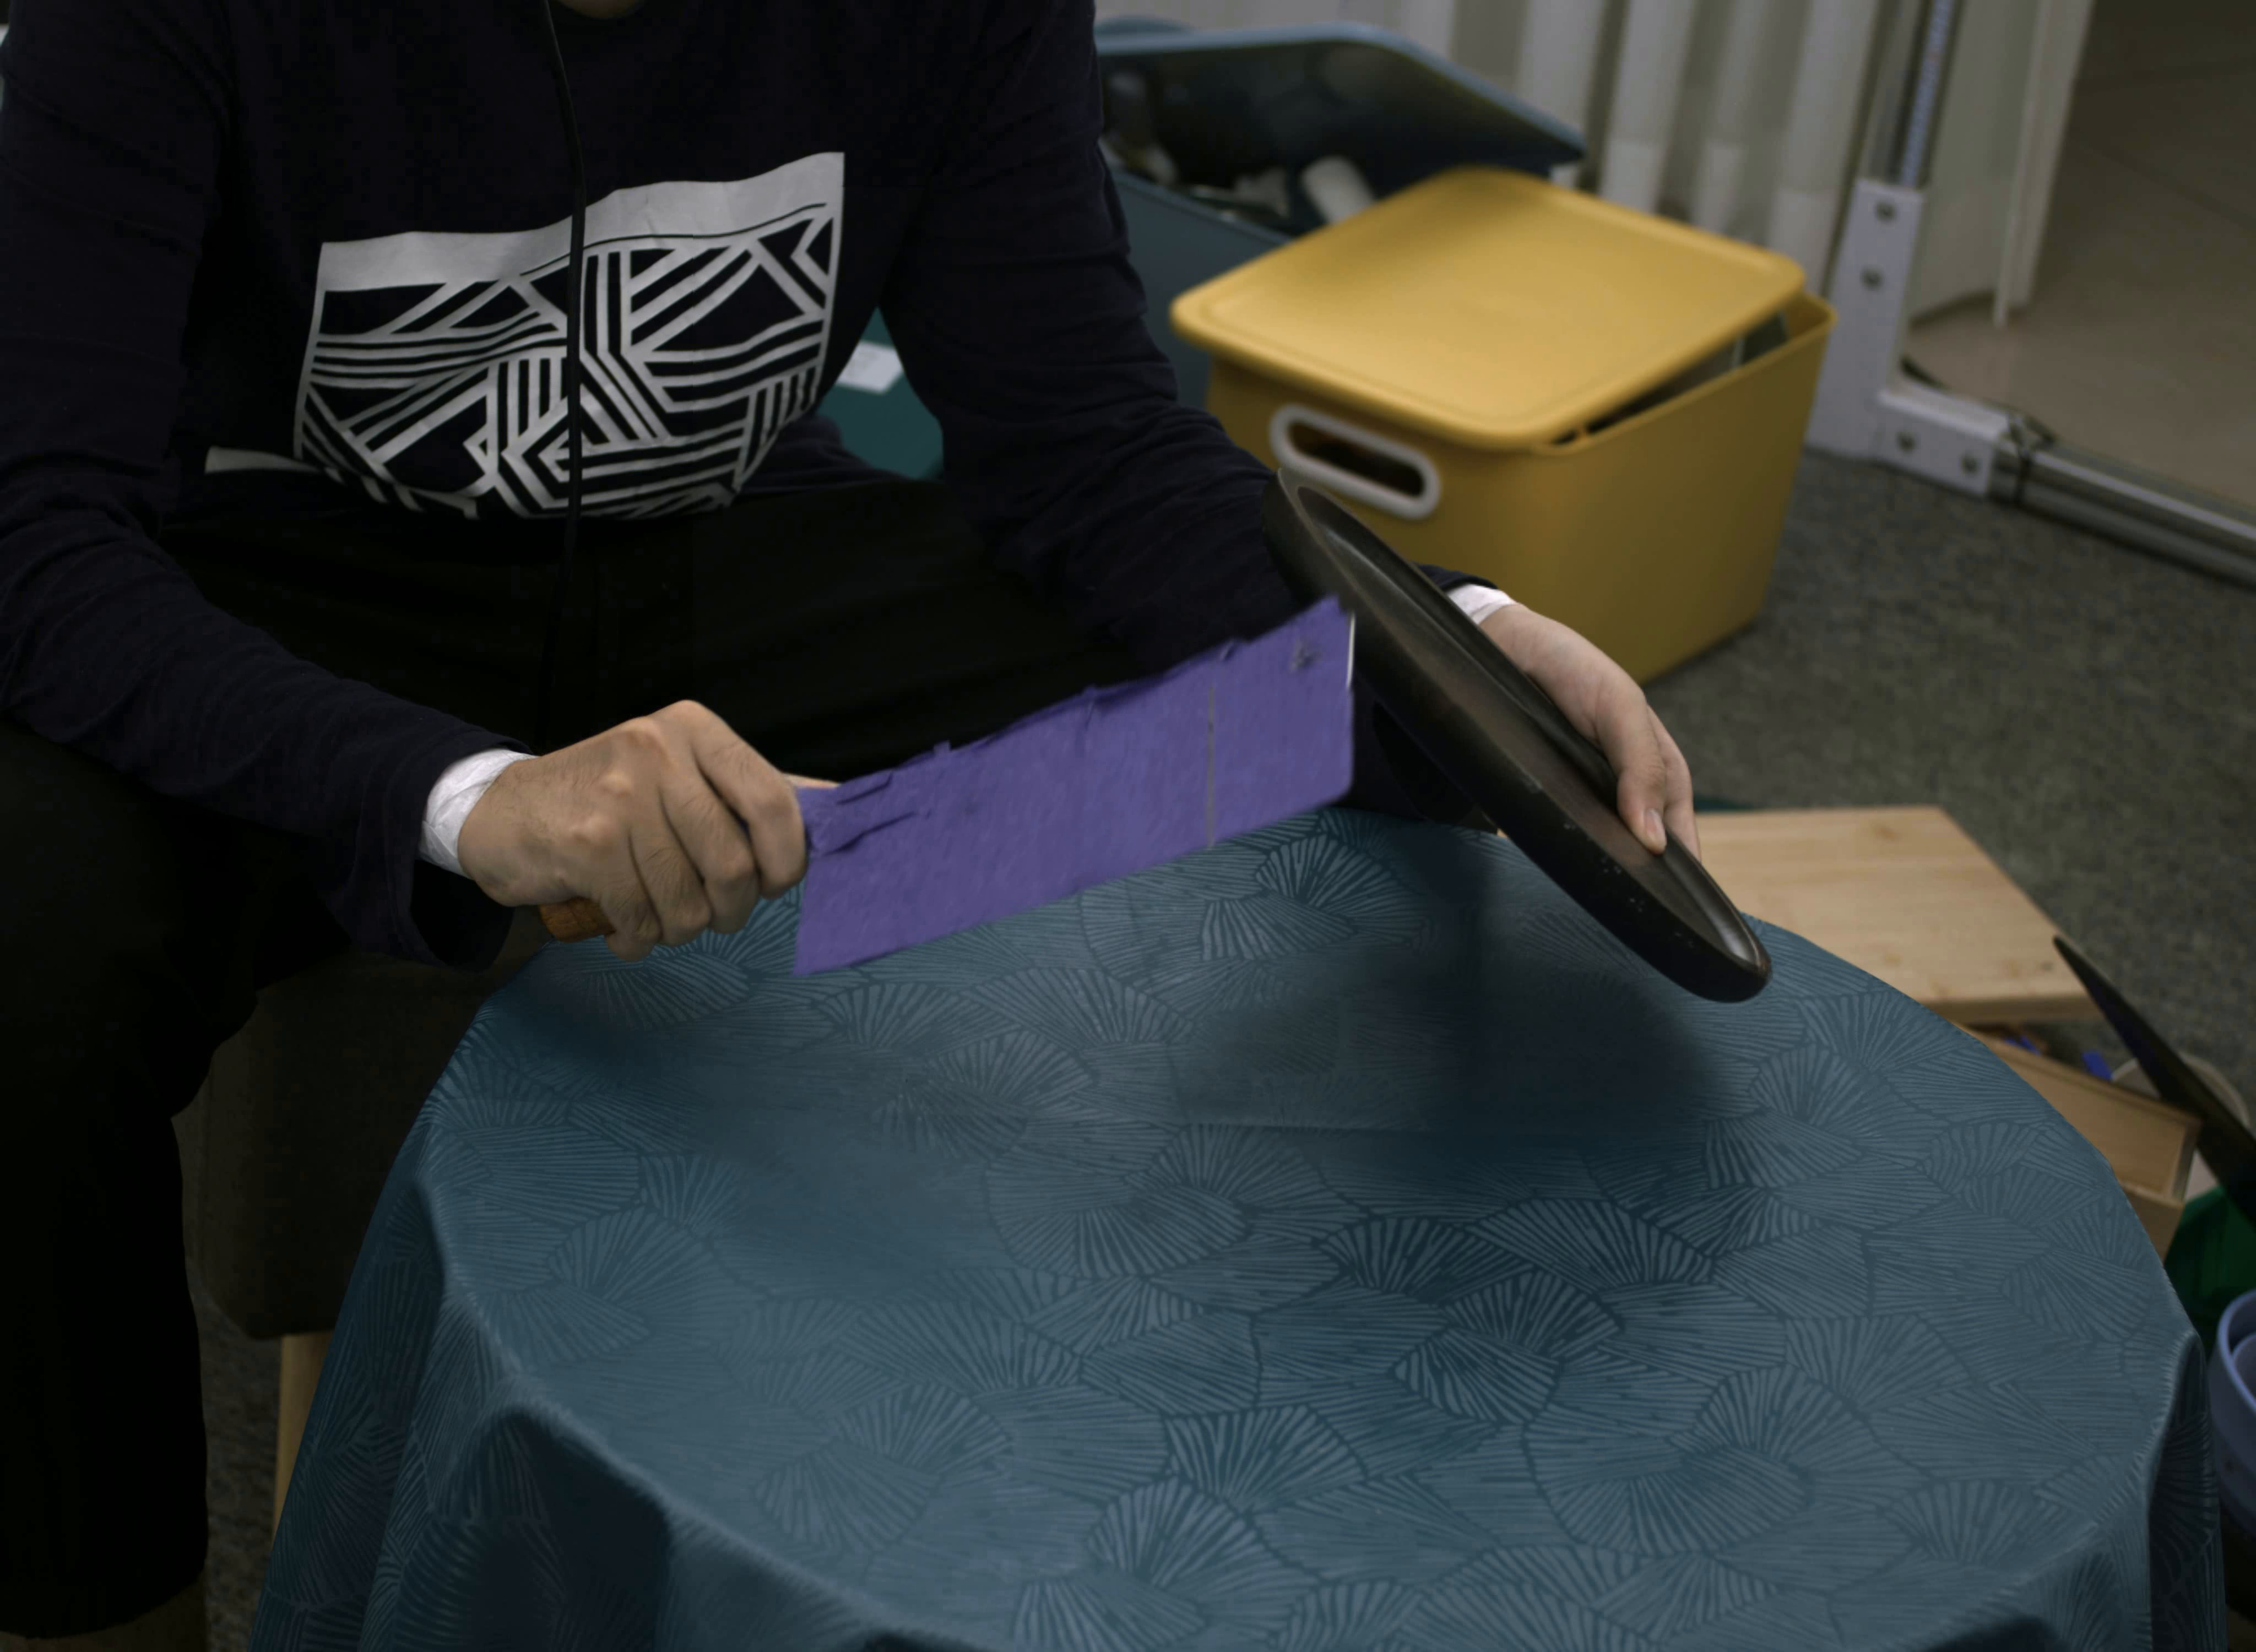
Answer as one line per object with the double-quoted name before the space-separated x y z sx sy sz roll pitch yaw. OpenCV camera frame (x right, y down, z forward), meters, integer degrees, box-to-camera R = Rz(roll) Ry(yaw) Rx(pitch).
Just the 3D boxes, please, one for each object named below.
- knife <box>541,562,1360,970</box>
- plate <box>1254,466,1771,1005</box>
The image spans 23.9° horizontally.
"knife" -0.064 -0.001 1.777 0.315 0.032 0.104 -22 37 22
"plate" 0.134 -0.031 1.876 0.254 0.029 0.256 44 10 -11
